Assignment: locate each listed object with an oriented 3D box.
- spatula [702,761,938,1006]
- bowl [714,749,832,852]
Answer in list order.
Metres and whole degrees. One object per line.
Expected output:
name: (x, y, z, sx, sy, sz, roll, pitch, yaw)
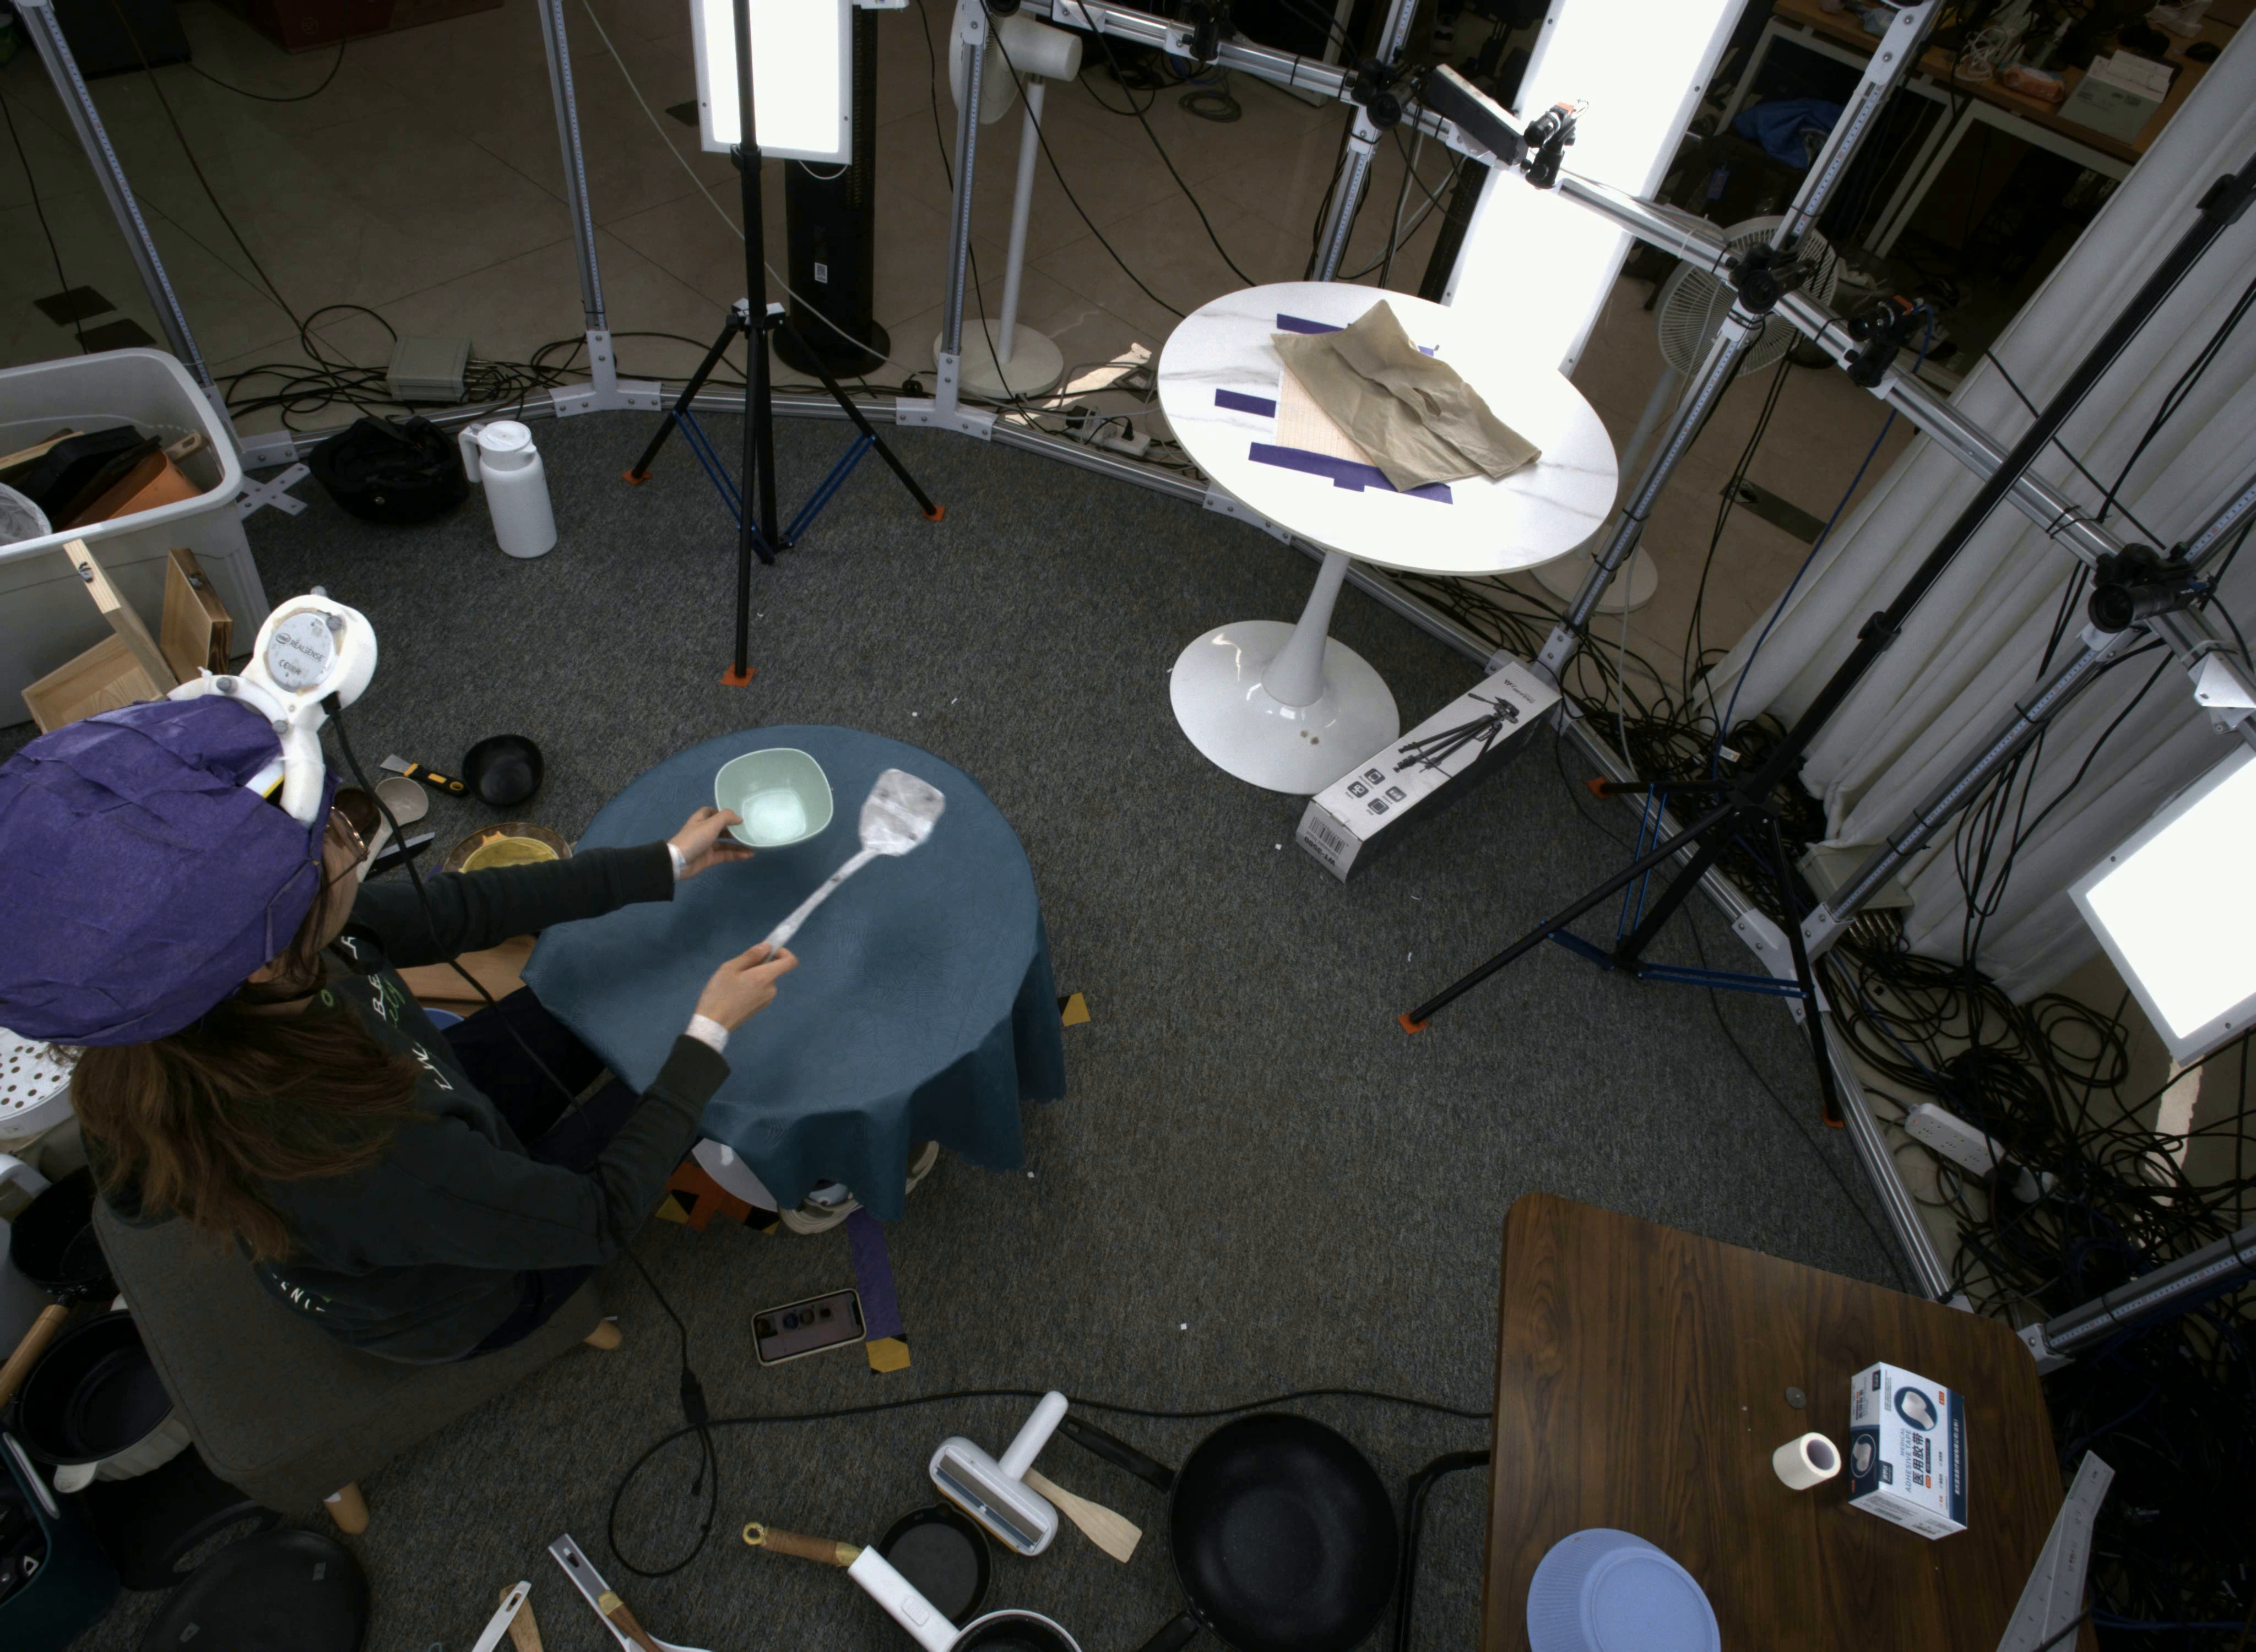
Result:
spatula: (-0.358, 0.066, 1.488, 0.096, 0.046, 0.364, 30, 59, 19)
bowl: (-0.443, -0.022, 1.616, 0.152, 0.059, 0.149, 9, 57, -13)
